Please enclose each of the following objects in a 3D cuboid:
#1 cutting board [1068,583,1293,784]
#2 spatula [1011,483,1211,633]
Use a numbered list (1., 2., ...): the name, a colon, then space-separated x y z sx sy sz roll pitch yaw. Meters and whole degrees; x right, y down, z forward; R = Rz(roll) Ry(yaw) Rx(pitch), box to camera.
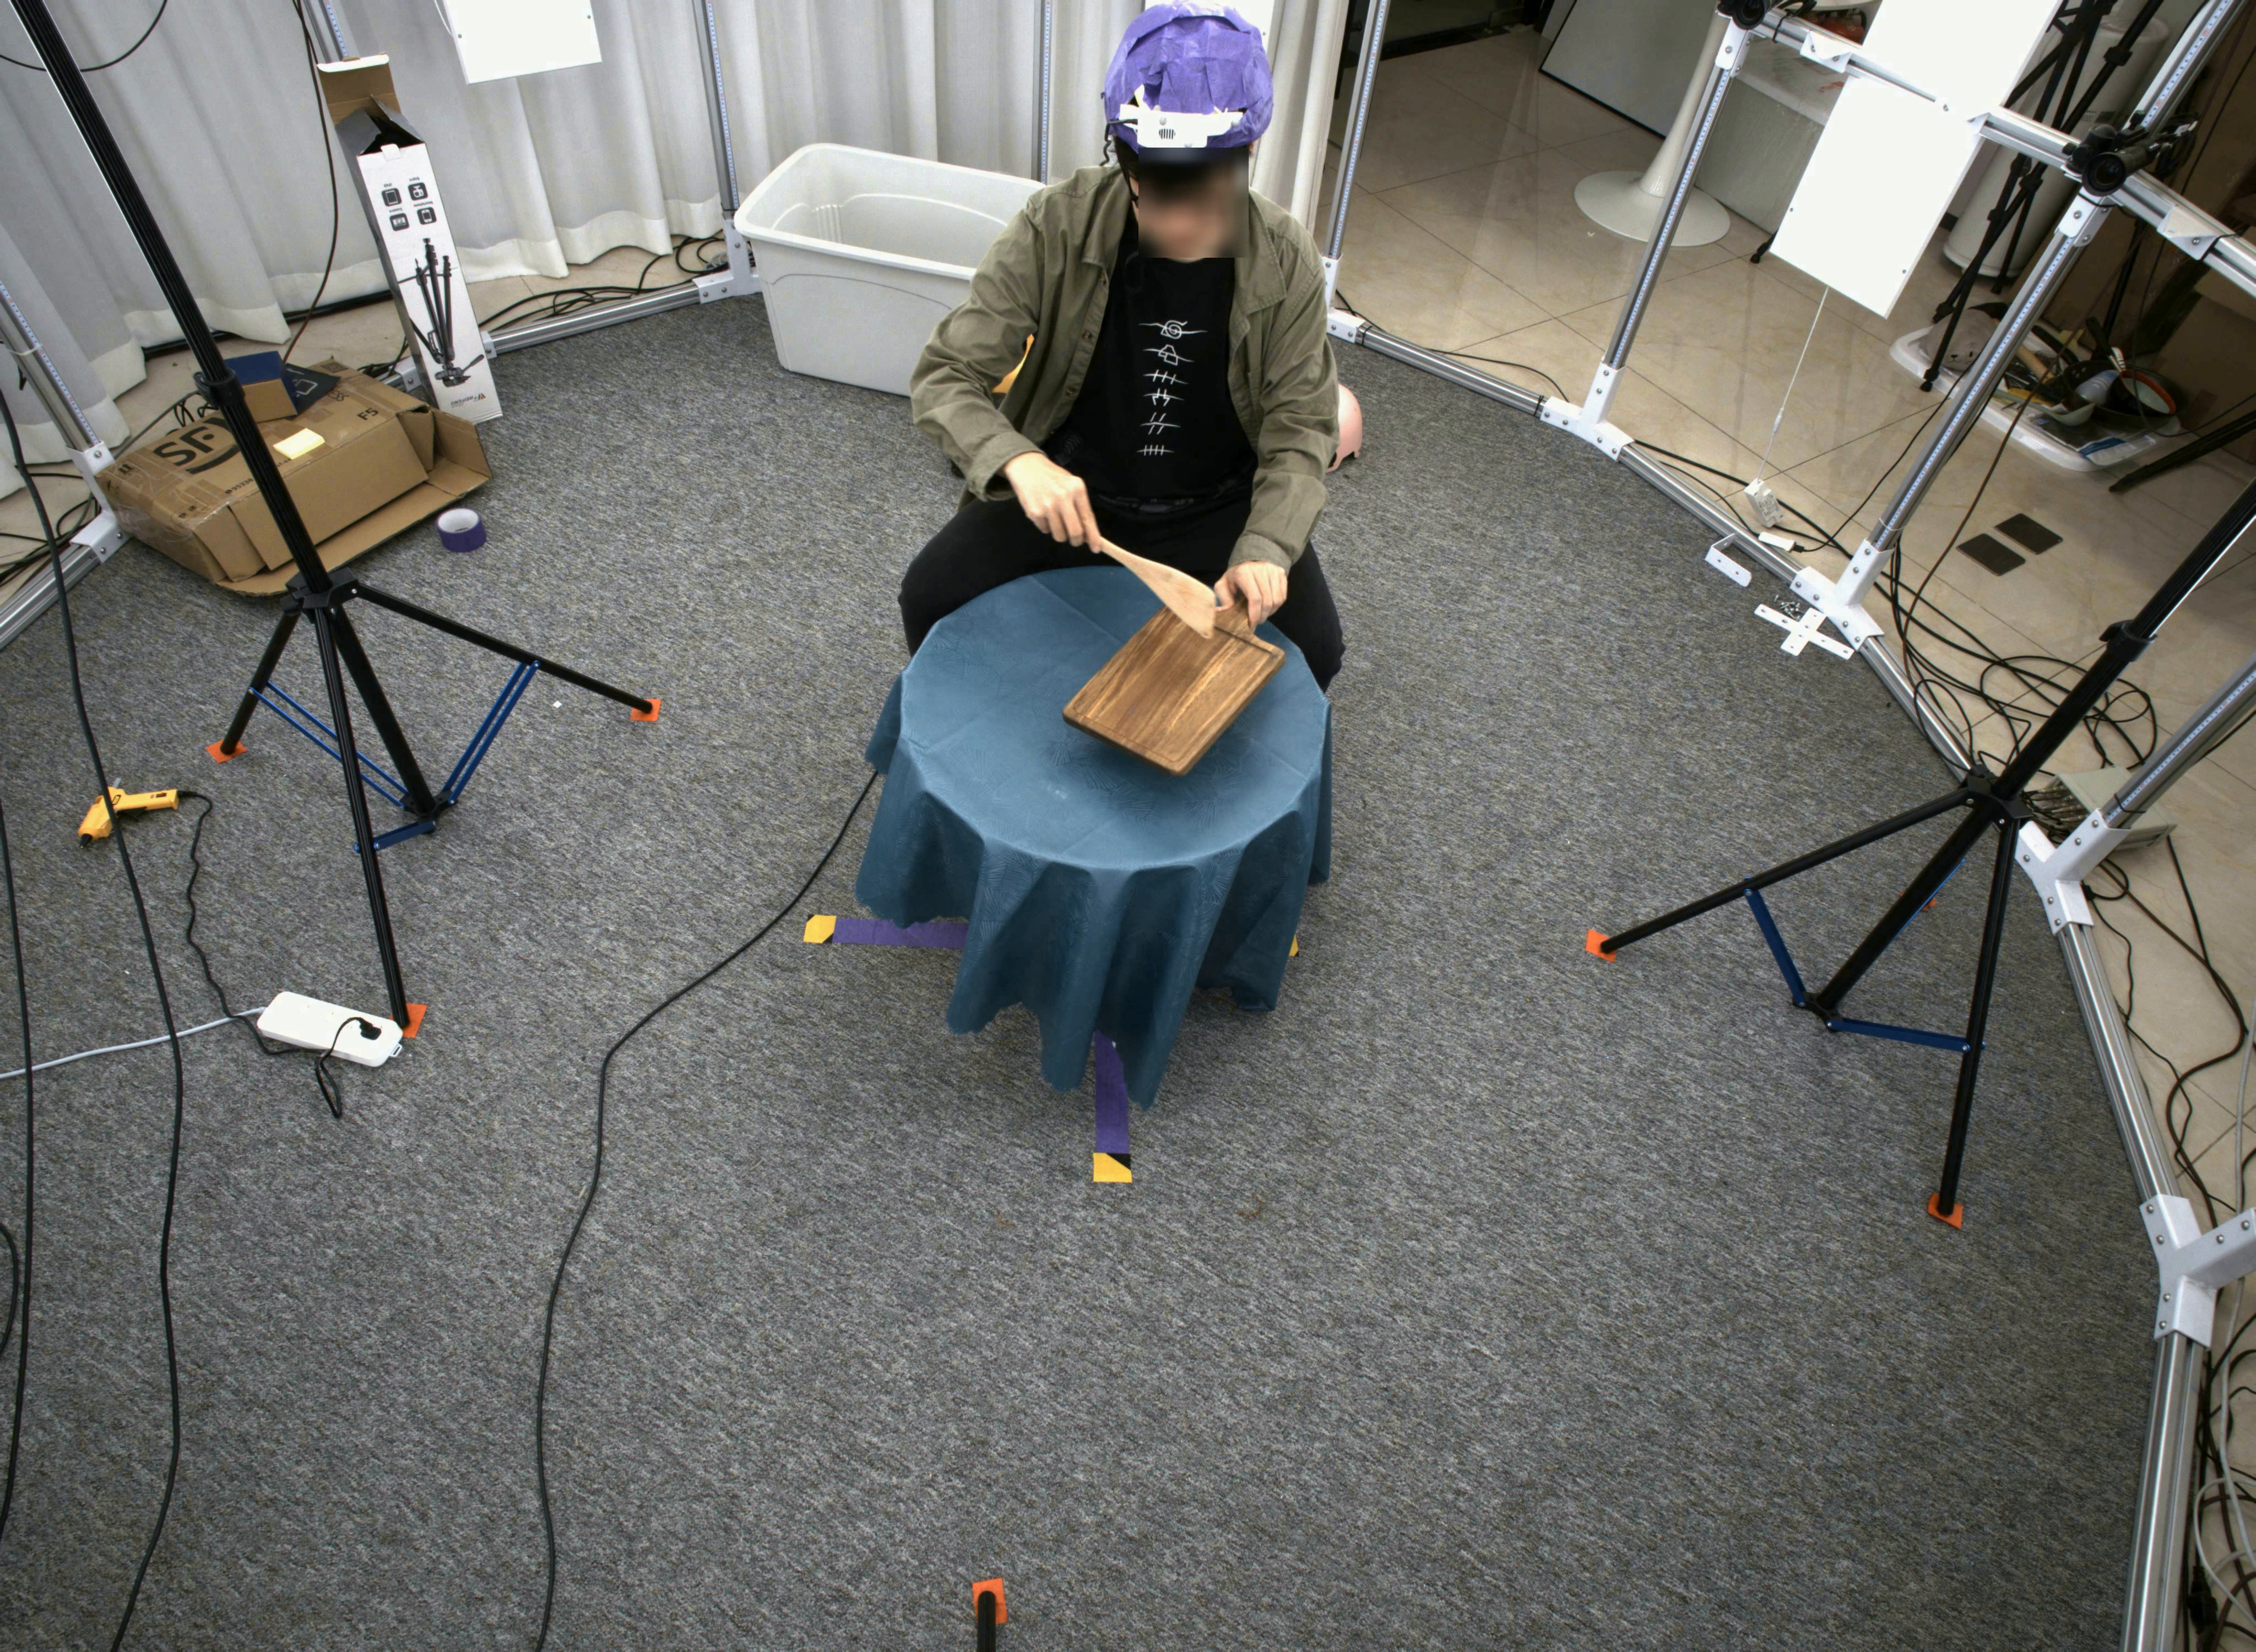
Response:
1. cutting board: 0.101 -0.213 1.721 0.203 0.022 0.356 29 61 27
2. spatula: -0.023 -0.366 1.705 0.330 0.078 0.017 33 55 11
